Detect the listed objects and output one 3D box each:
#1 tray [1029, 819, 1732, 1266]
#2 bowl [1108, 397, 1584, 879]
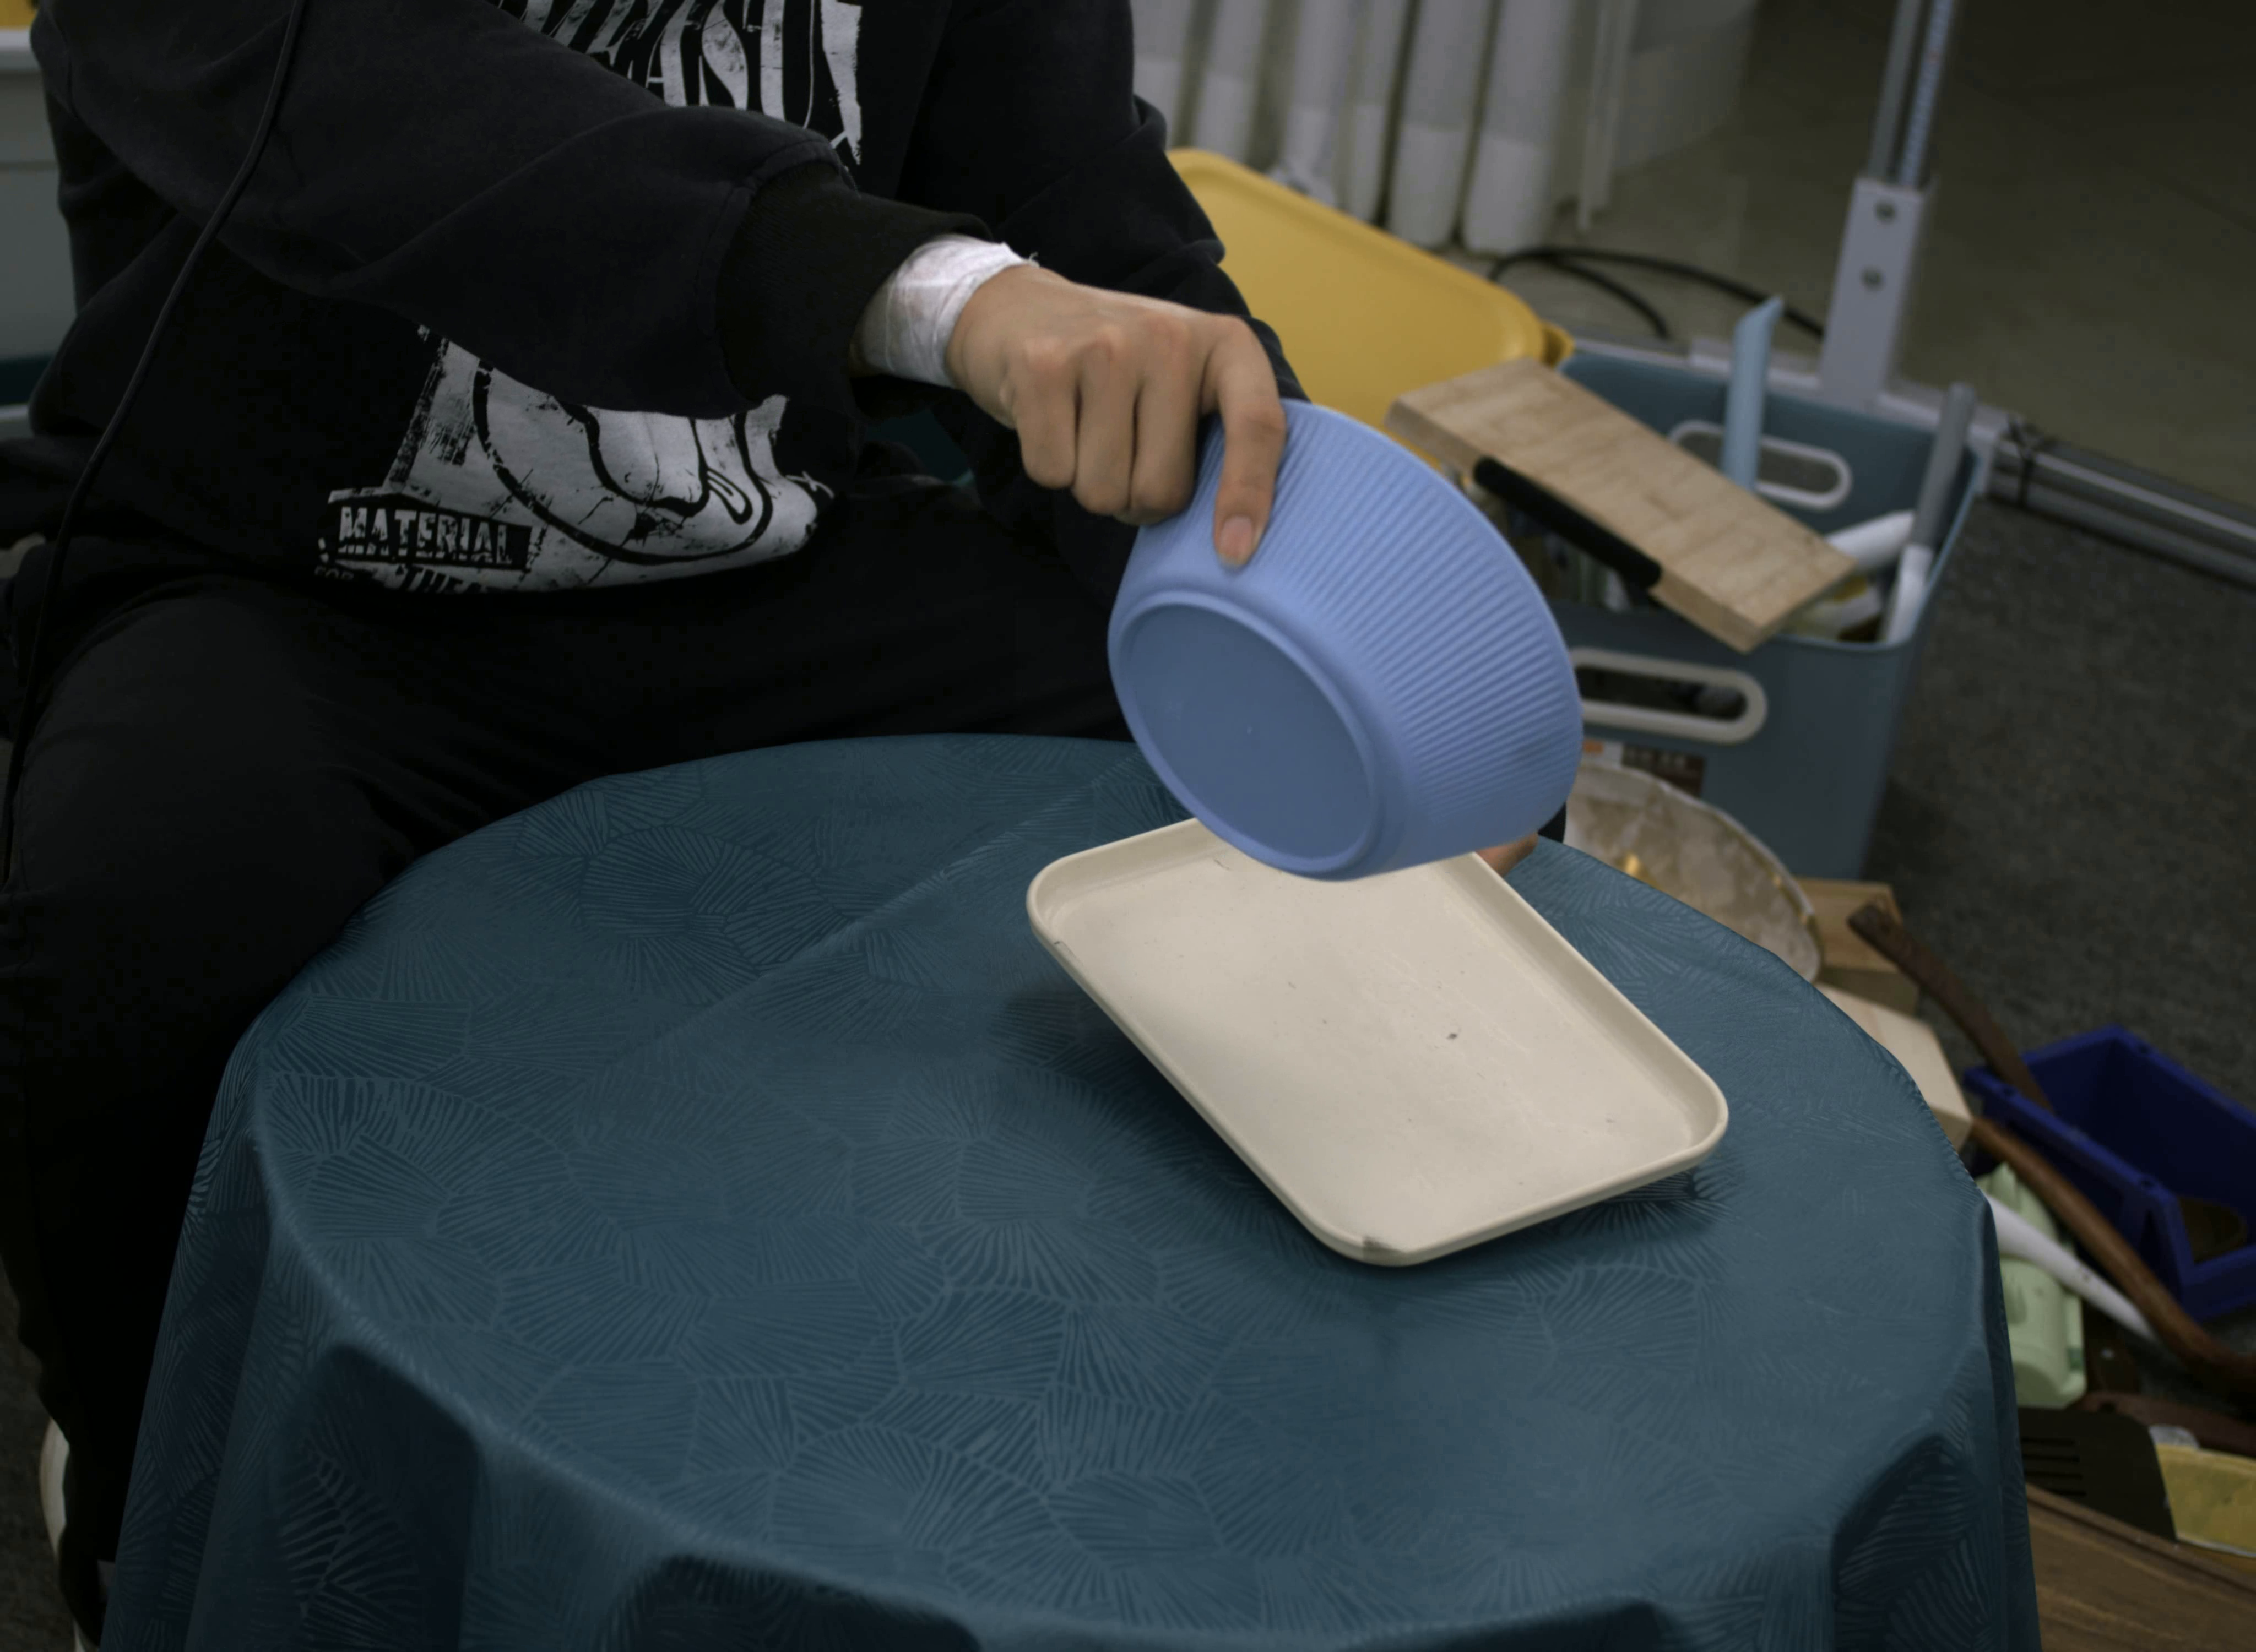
[{"bbox_3d":[0.086,0.068,1.872,0.170,0.017,0.242,-15,40,-28],"label":"tray"},{"bbox_3d":[0.058,-0.049,1.731,0.177,0.175,0.070,25,51,32],"label":"bowl"}]
